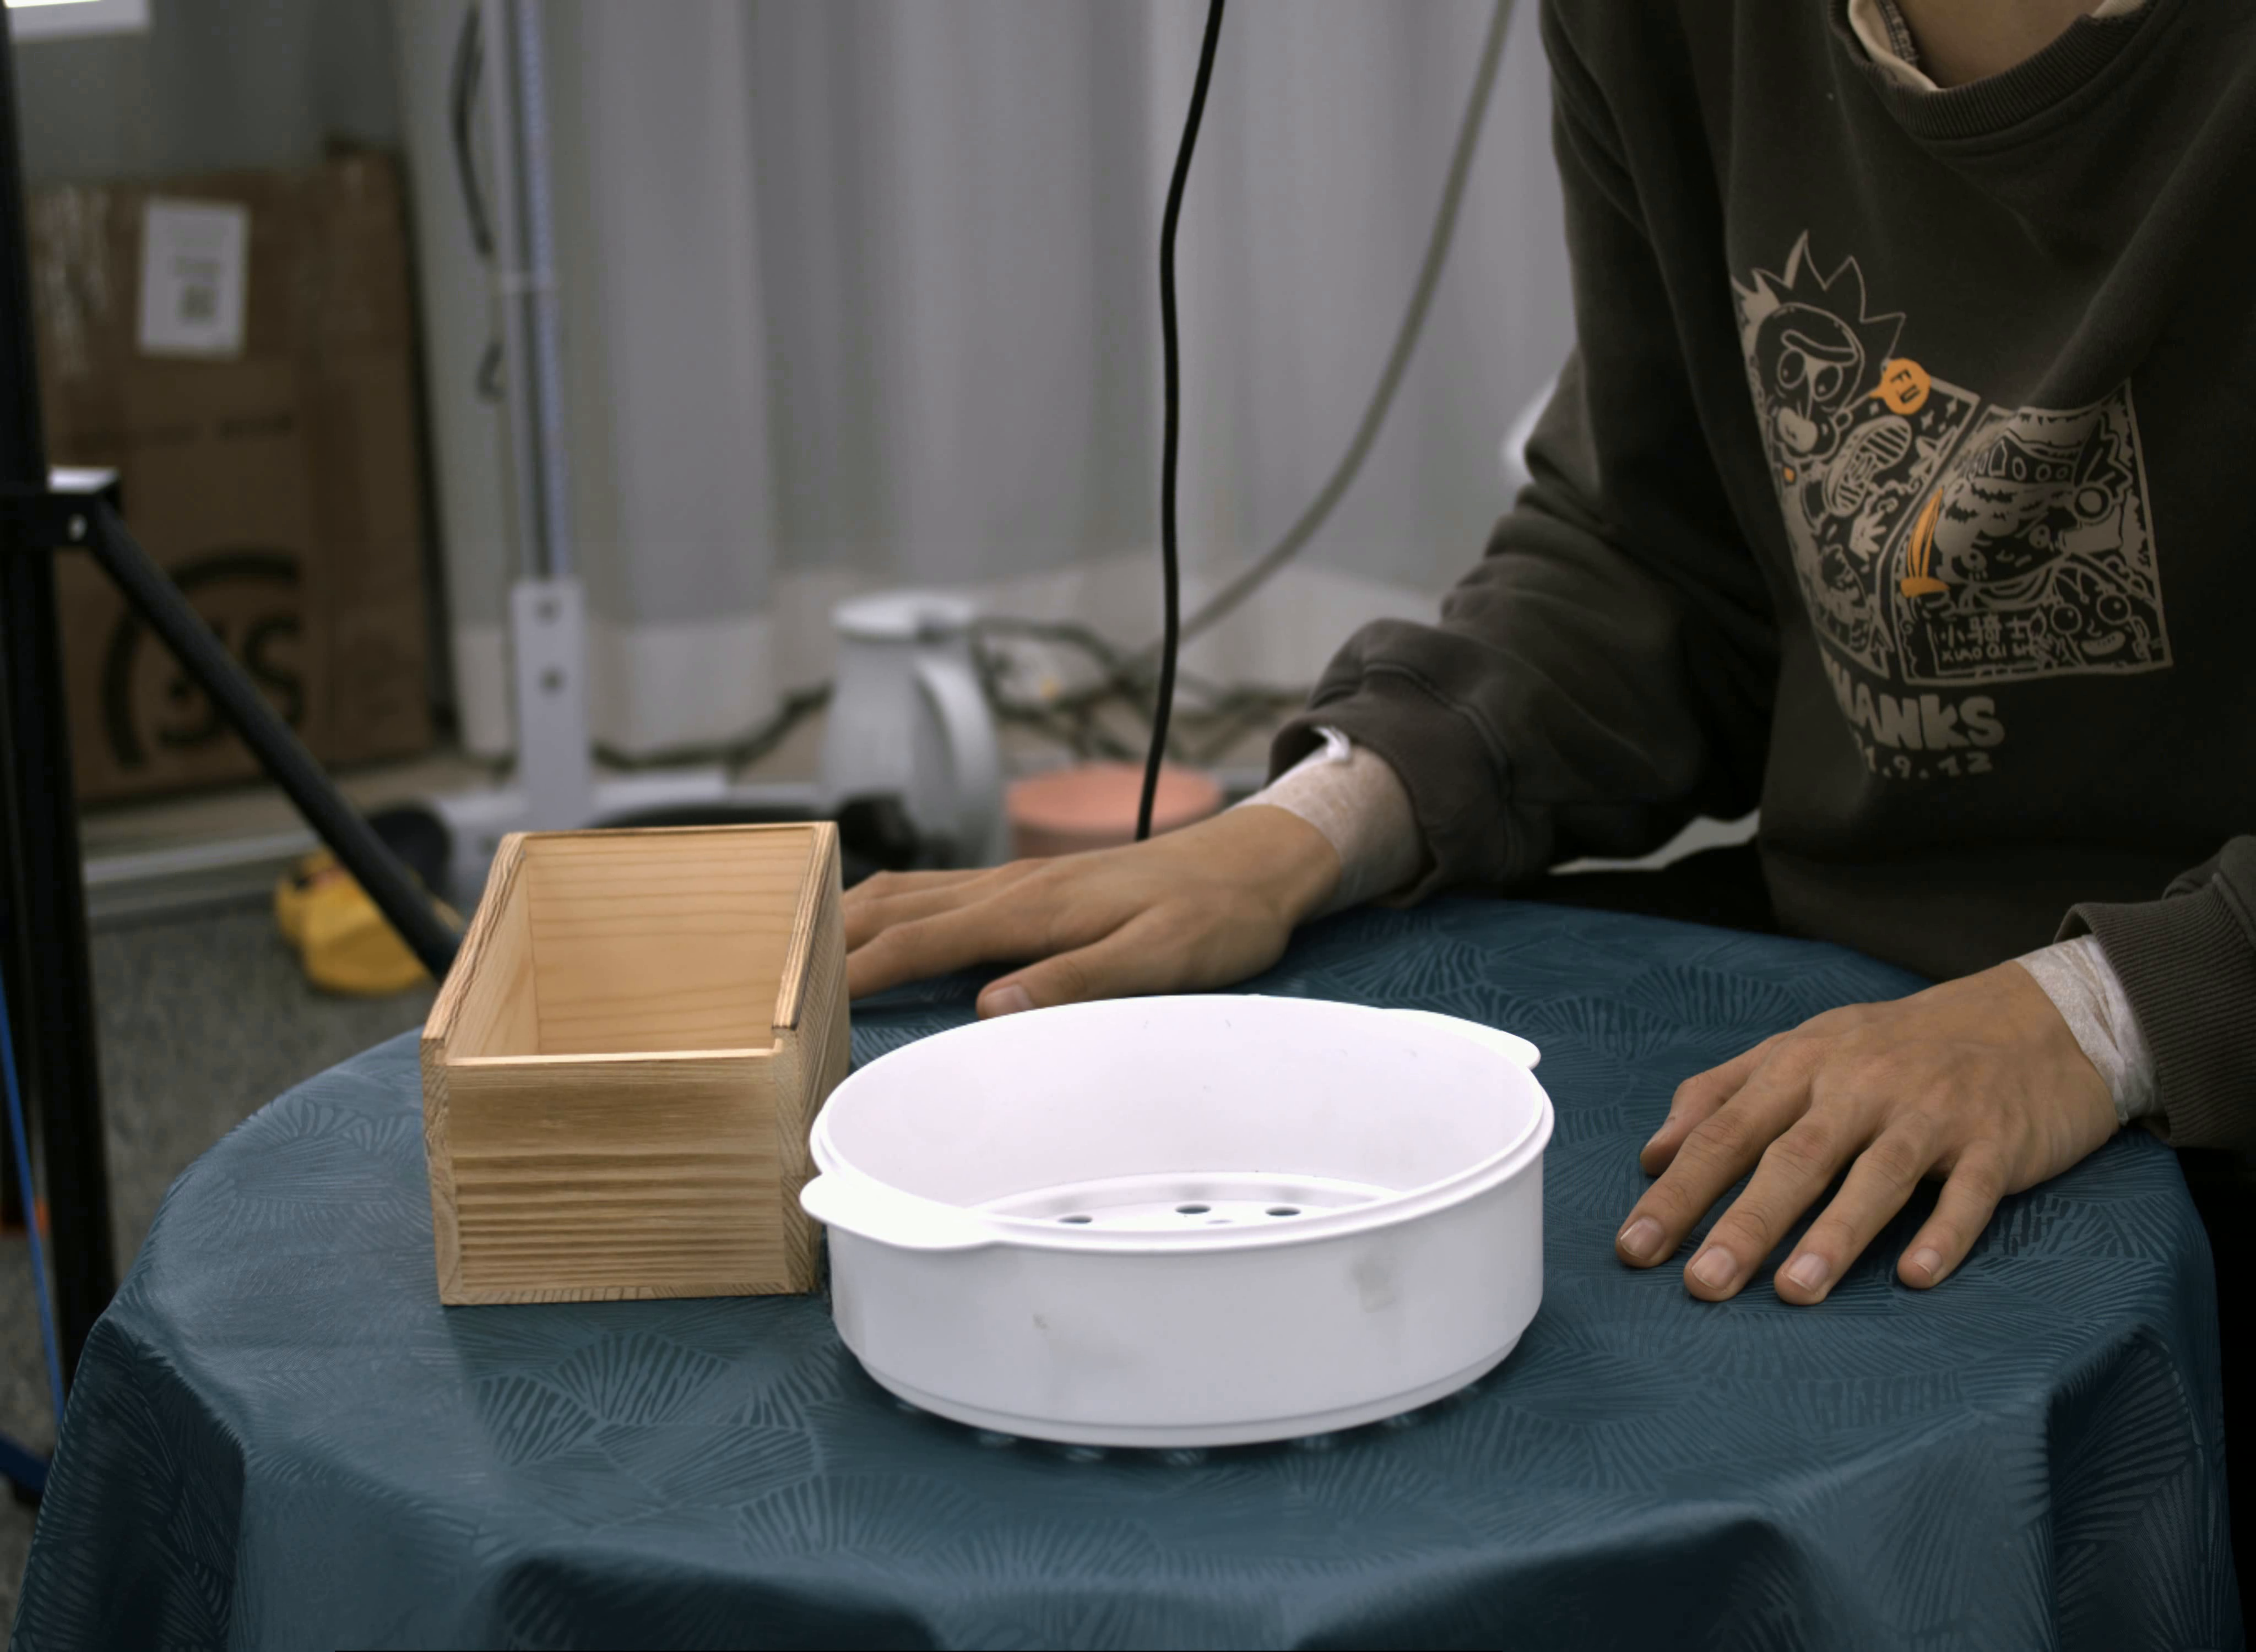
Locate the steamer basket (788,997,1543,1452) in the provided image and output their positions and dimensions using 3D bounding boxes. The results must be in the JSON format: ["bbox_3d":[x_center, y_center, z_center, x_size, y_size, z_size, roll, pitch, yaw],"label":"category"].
[{"bbox_3d":[0.012,0.107,1.437,0.225,0.069,0.206,-14,19,-37],"label":"steamer basket"}]

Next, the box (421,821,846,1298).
[{"bbox_3d":[-0.143,0.066,1.589,0.107,0.080,0.212,-2,16,1],"label":"box"}]
